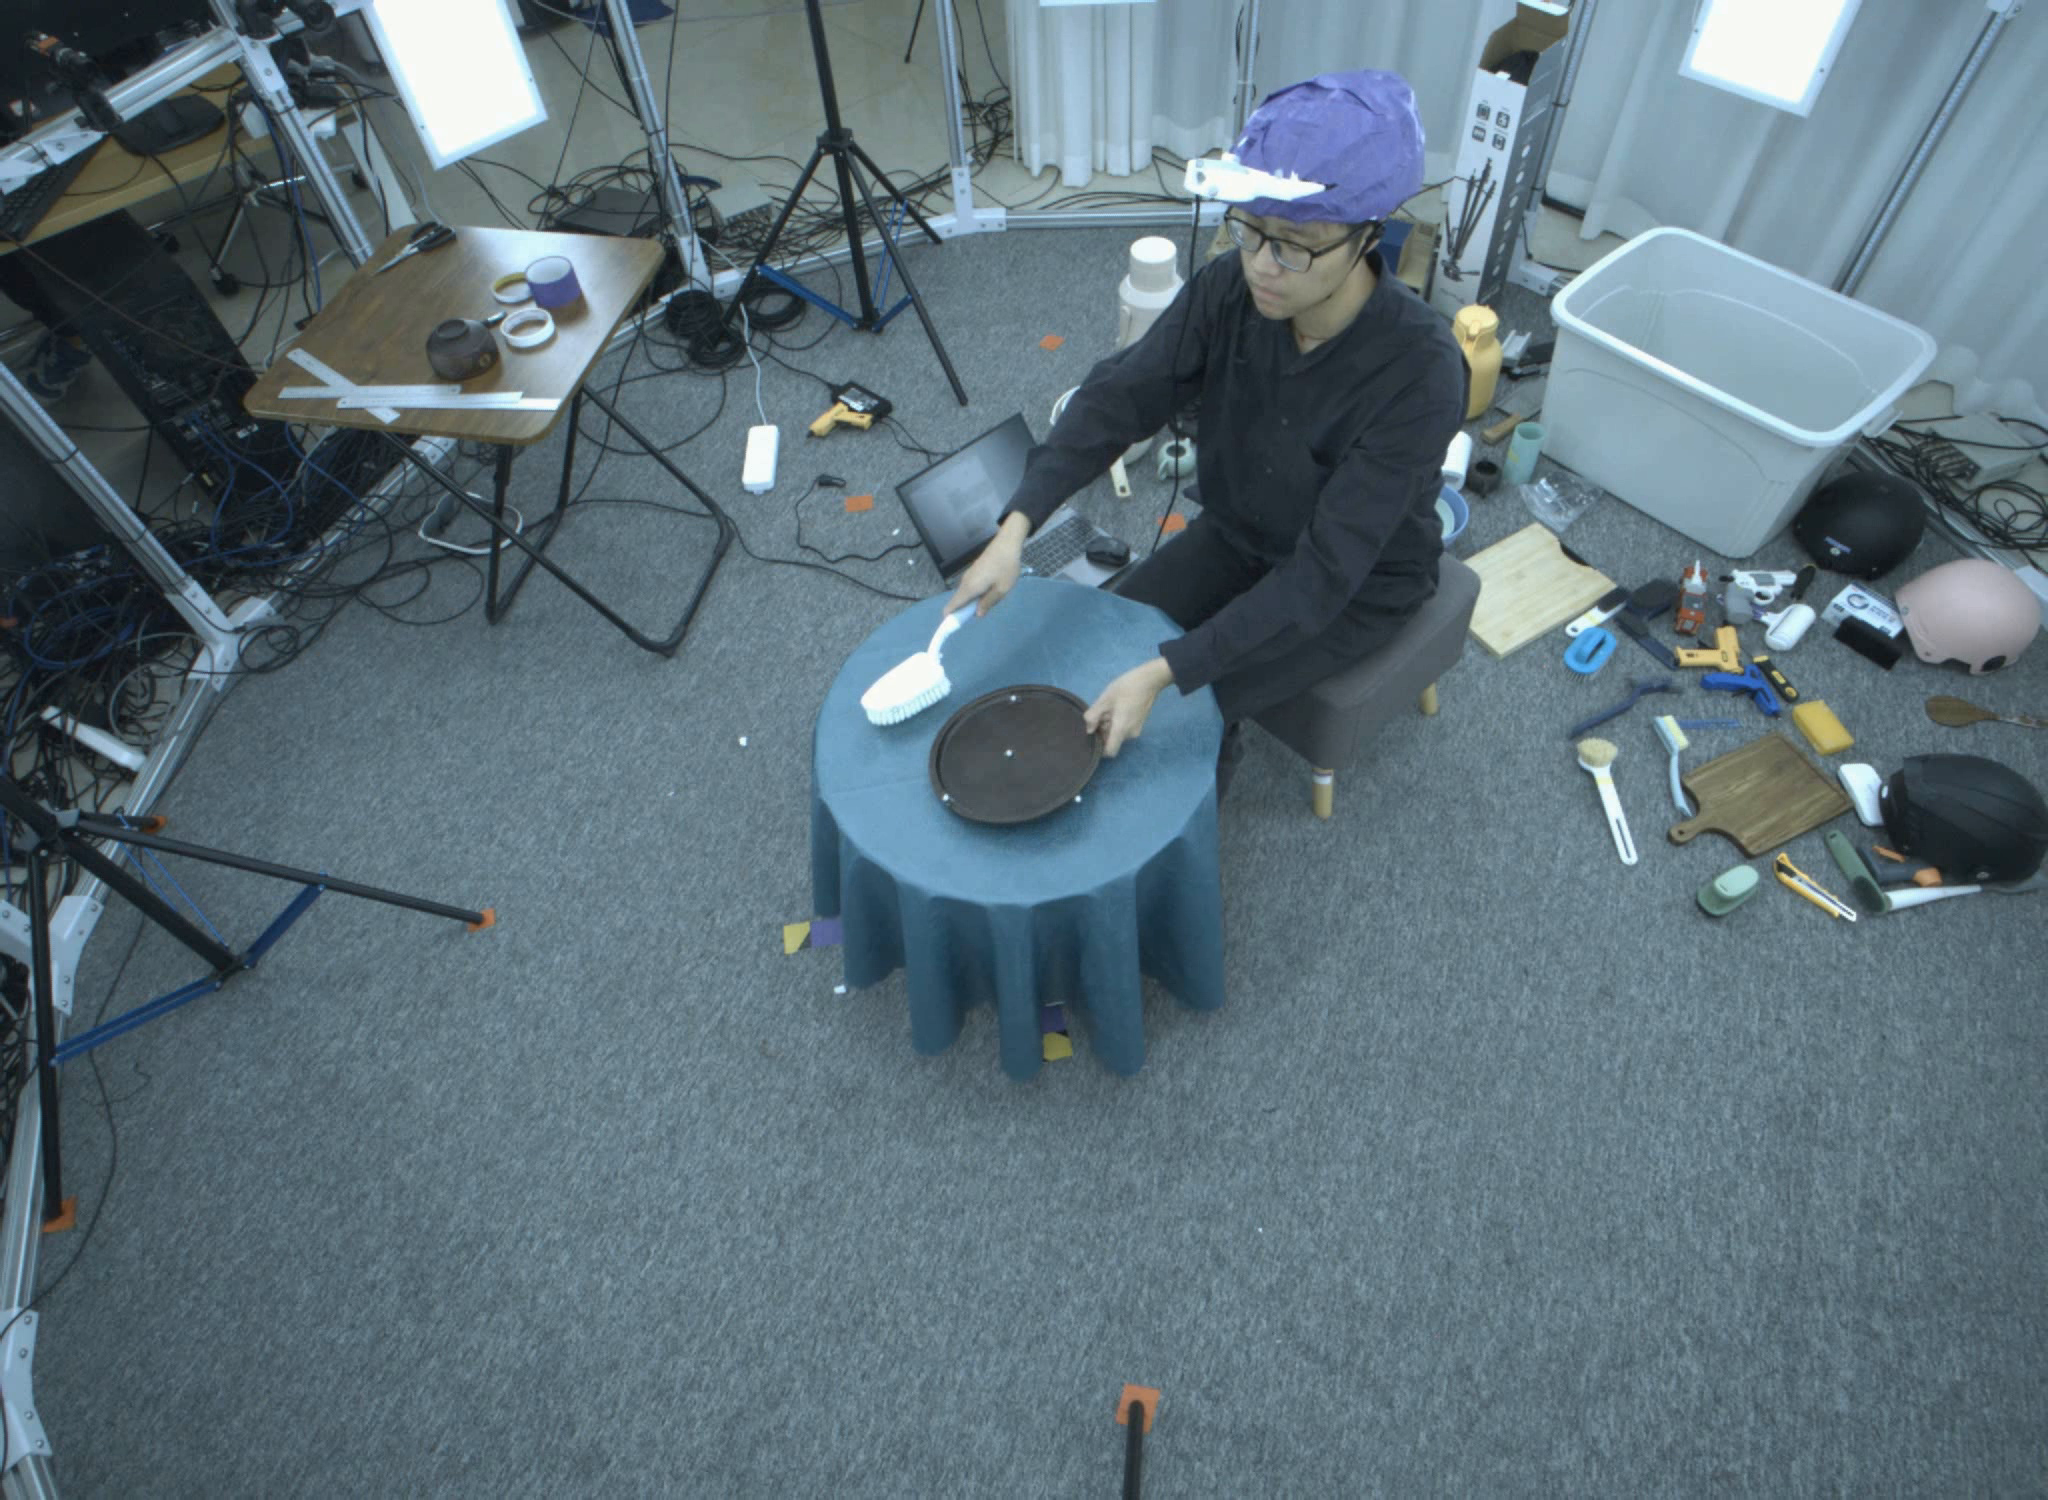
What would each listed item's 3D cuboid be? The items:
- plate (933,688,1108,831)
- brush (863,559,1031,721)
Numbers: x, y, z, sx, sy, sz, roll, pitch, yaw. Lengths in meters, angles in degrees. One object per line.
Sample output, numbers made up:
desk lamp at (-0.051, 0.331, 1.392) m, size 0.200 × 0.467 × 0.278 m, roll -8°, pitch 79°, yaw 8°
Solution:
plate at (-0.005, 0.012, 1.740) m, size 0.253 × 0.029 × 0.252 m, roll -7°, pitch 49°, yaw 9°
brush at (-0.101, -0.153, 1.819) m, size 0.326 × 0.084 × 0.083 m, roll -43°, pitch 93°, yaw -6°
